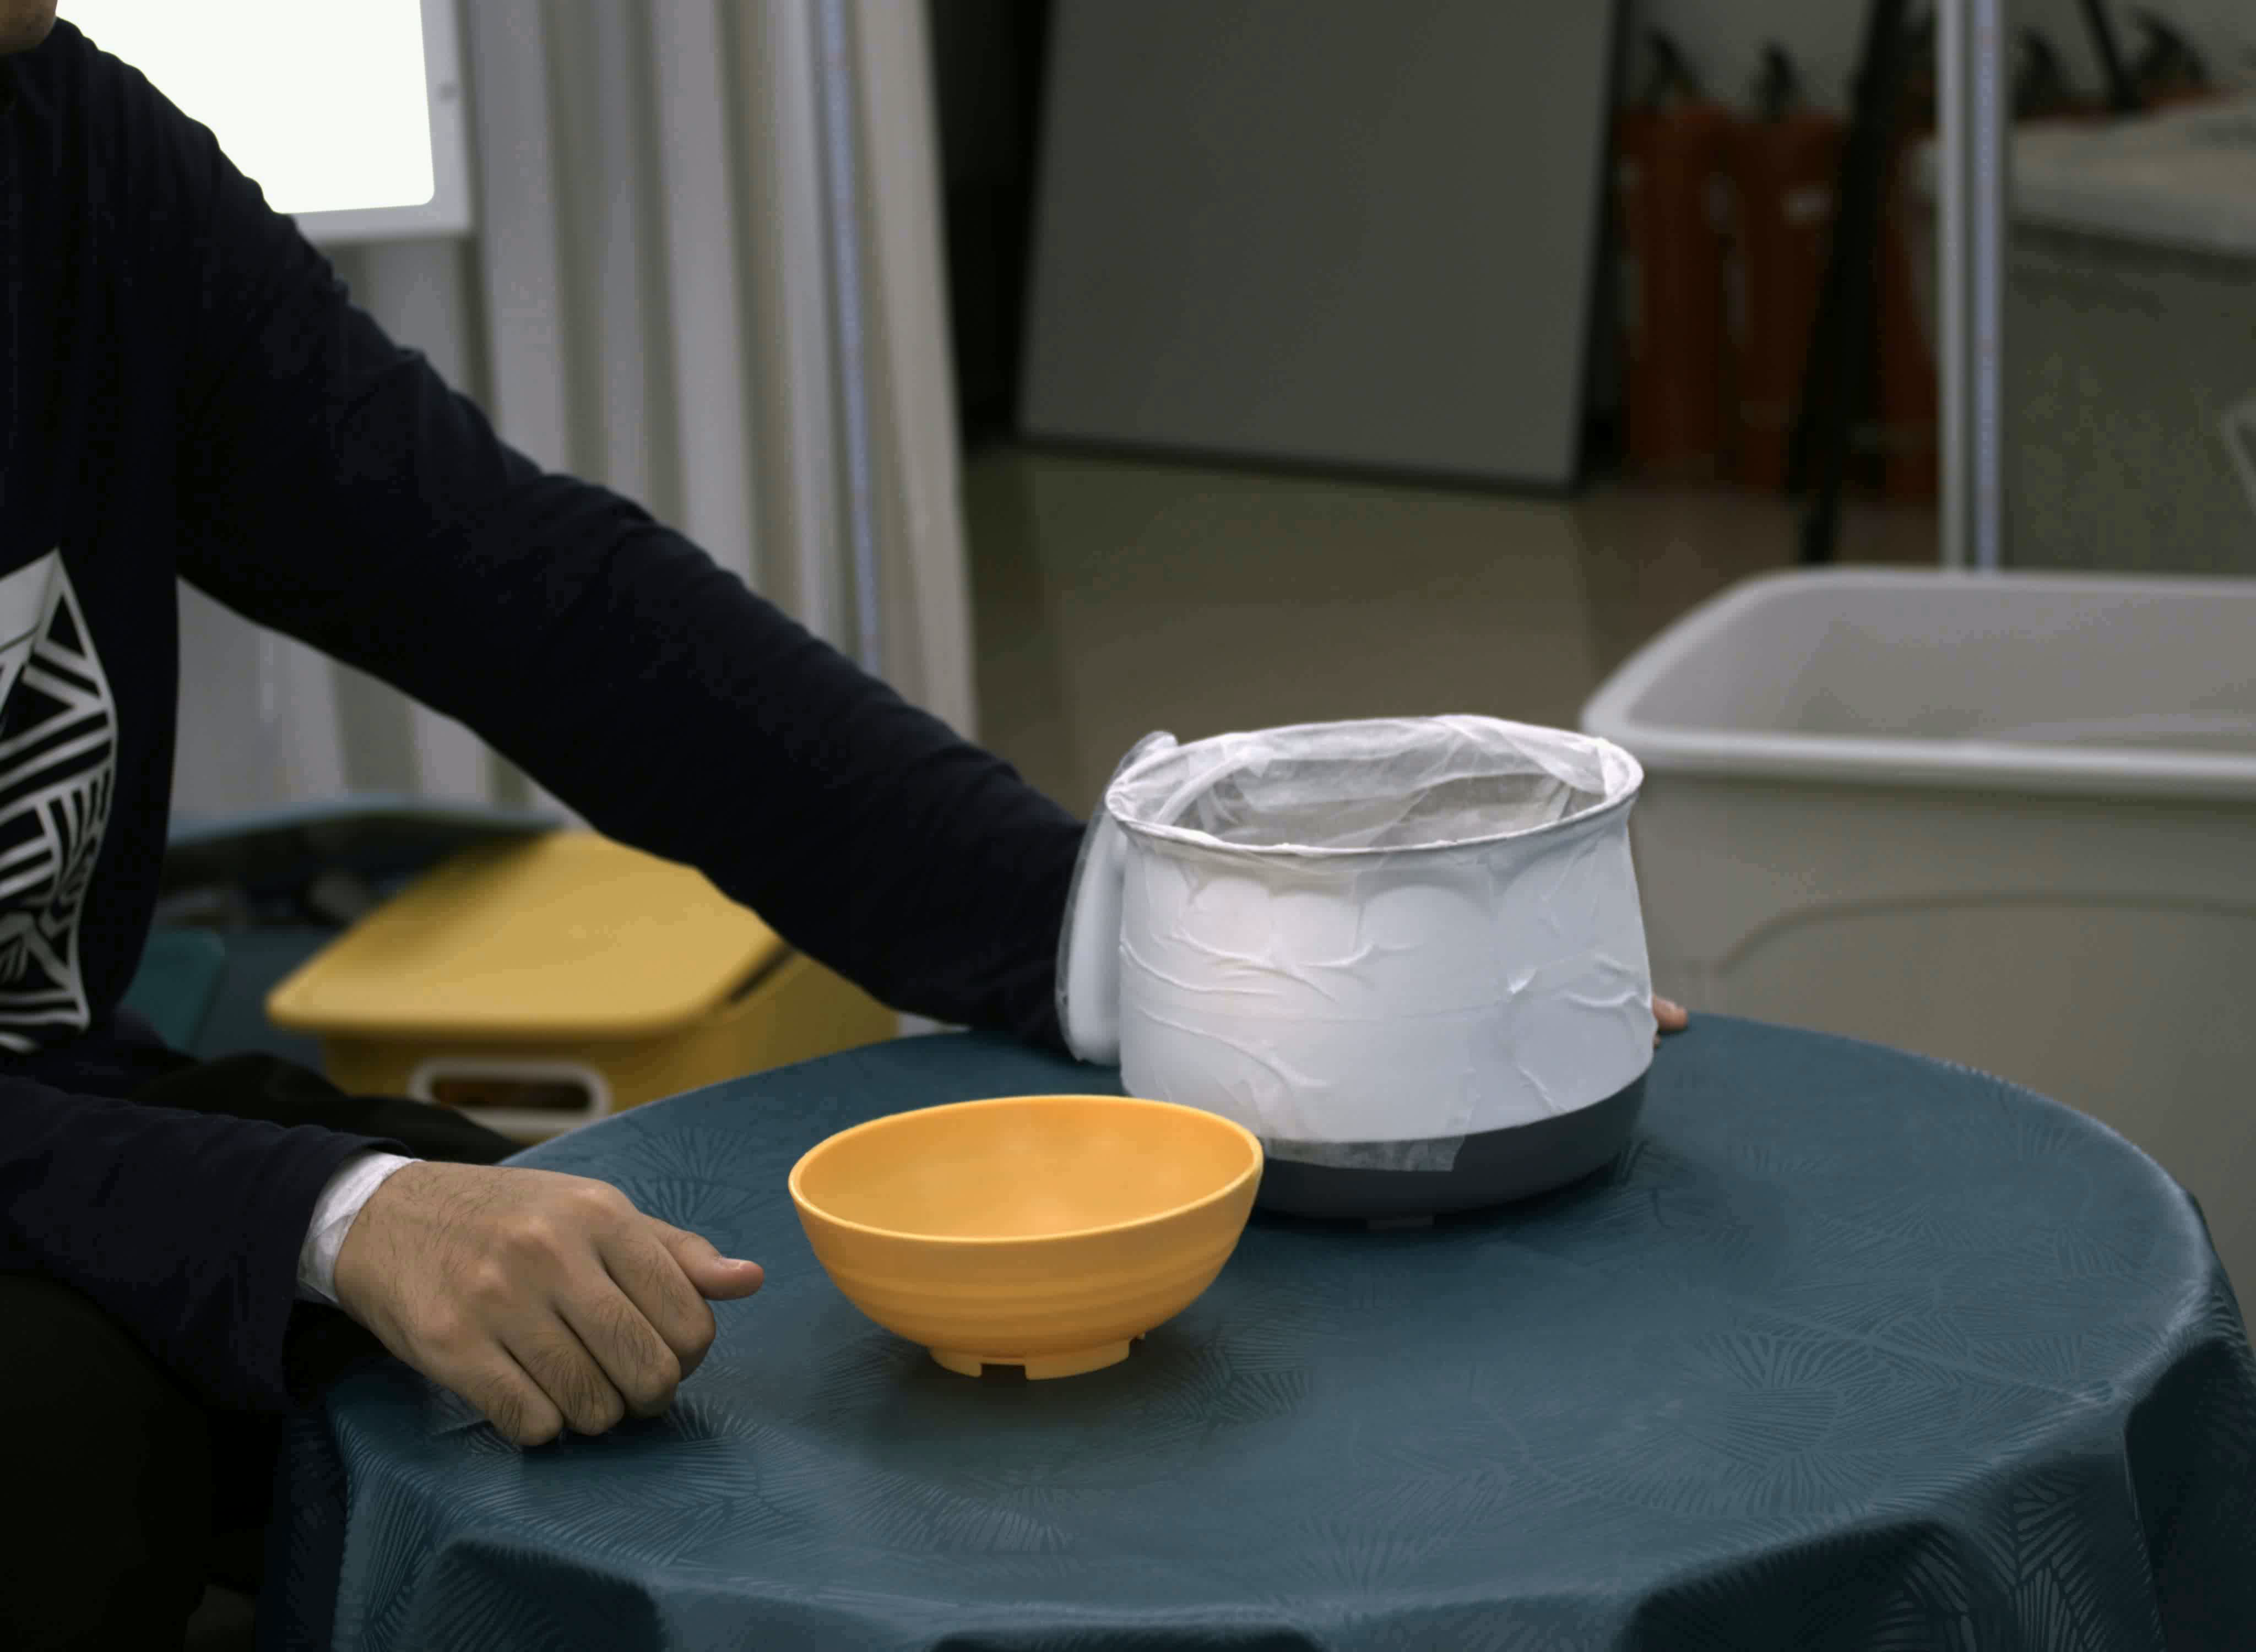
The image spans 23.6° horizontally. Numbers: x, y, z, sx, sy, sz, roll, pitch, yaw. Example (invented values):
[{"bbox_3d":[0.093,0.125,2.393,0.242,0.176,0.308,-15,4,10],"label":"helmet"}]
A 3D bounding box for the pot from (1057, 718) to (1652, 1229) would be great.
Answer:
[{"bbox_3d":[0.064,0.042,1.787,0.236,0.138,0.175,10,17,44],"label":"pot"}]

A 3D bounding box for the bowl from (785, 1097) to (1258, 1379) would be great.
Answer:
[{"bbox_3d":[-0.031,0.128,1.624,0.143,0.061,0.145,-3,13,0],"label":"bowl"}]
